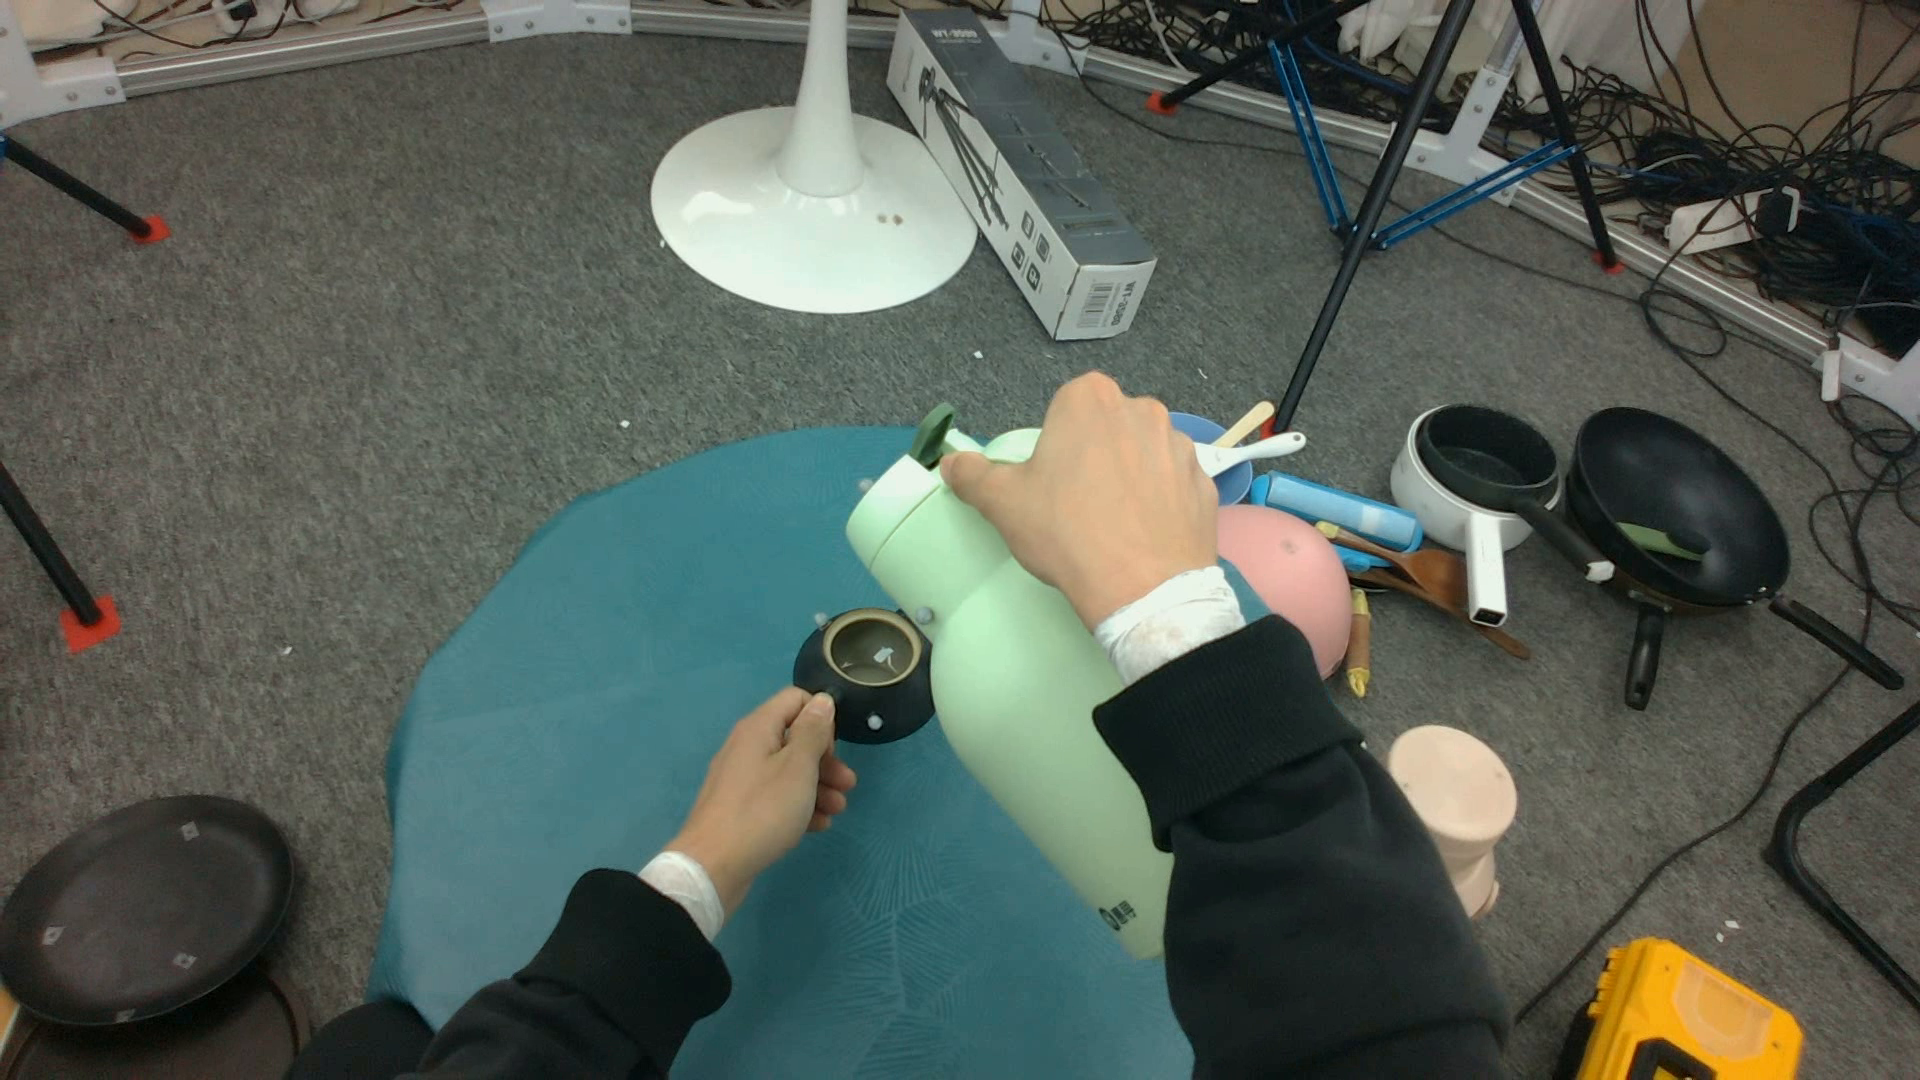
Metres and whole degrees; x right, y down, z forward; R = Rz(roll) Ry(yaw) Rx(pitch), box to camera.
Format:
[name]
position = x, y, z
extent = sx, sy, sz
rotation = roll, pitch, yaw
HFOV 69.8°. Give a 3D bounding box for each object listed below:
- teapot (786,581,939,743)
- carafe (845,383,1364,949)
[teapot]
position = -0.058, 0.074, 0.816
extent = 0.091, 0.053, 0.134
rotation = 27, 47, 18
[carafe]
position = 0.059, 0.047, 0.635
extent = 0.145, 0.186, 0.257
rotation = -36, 81, -34
